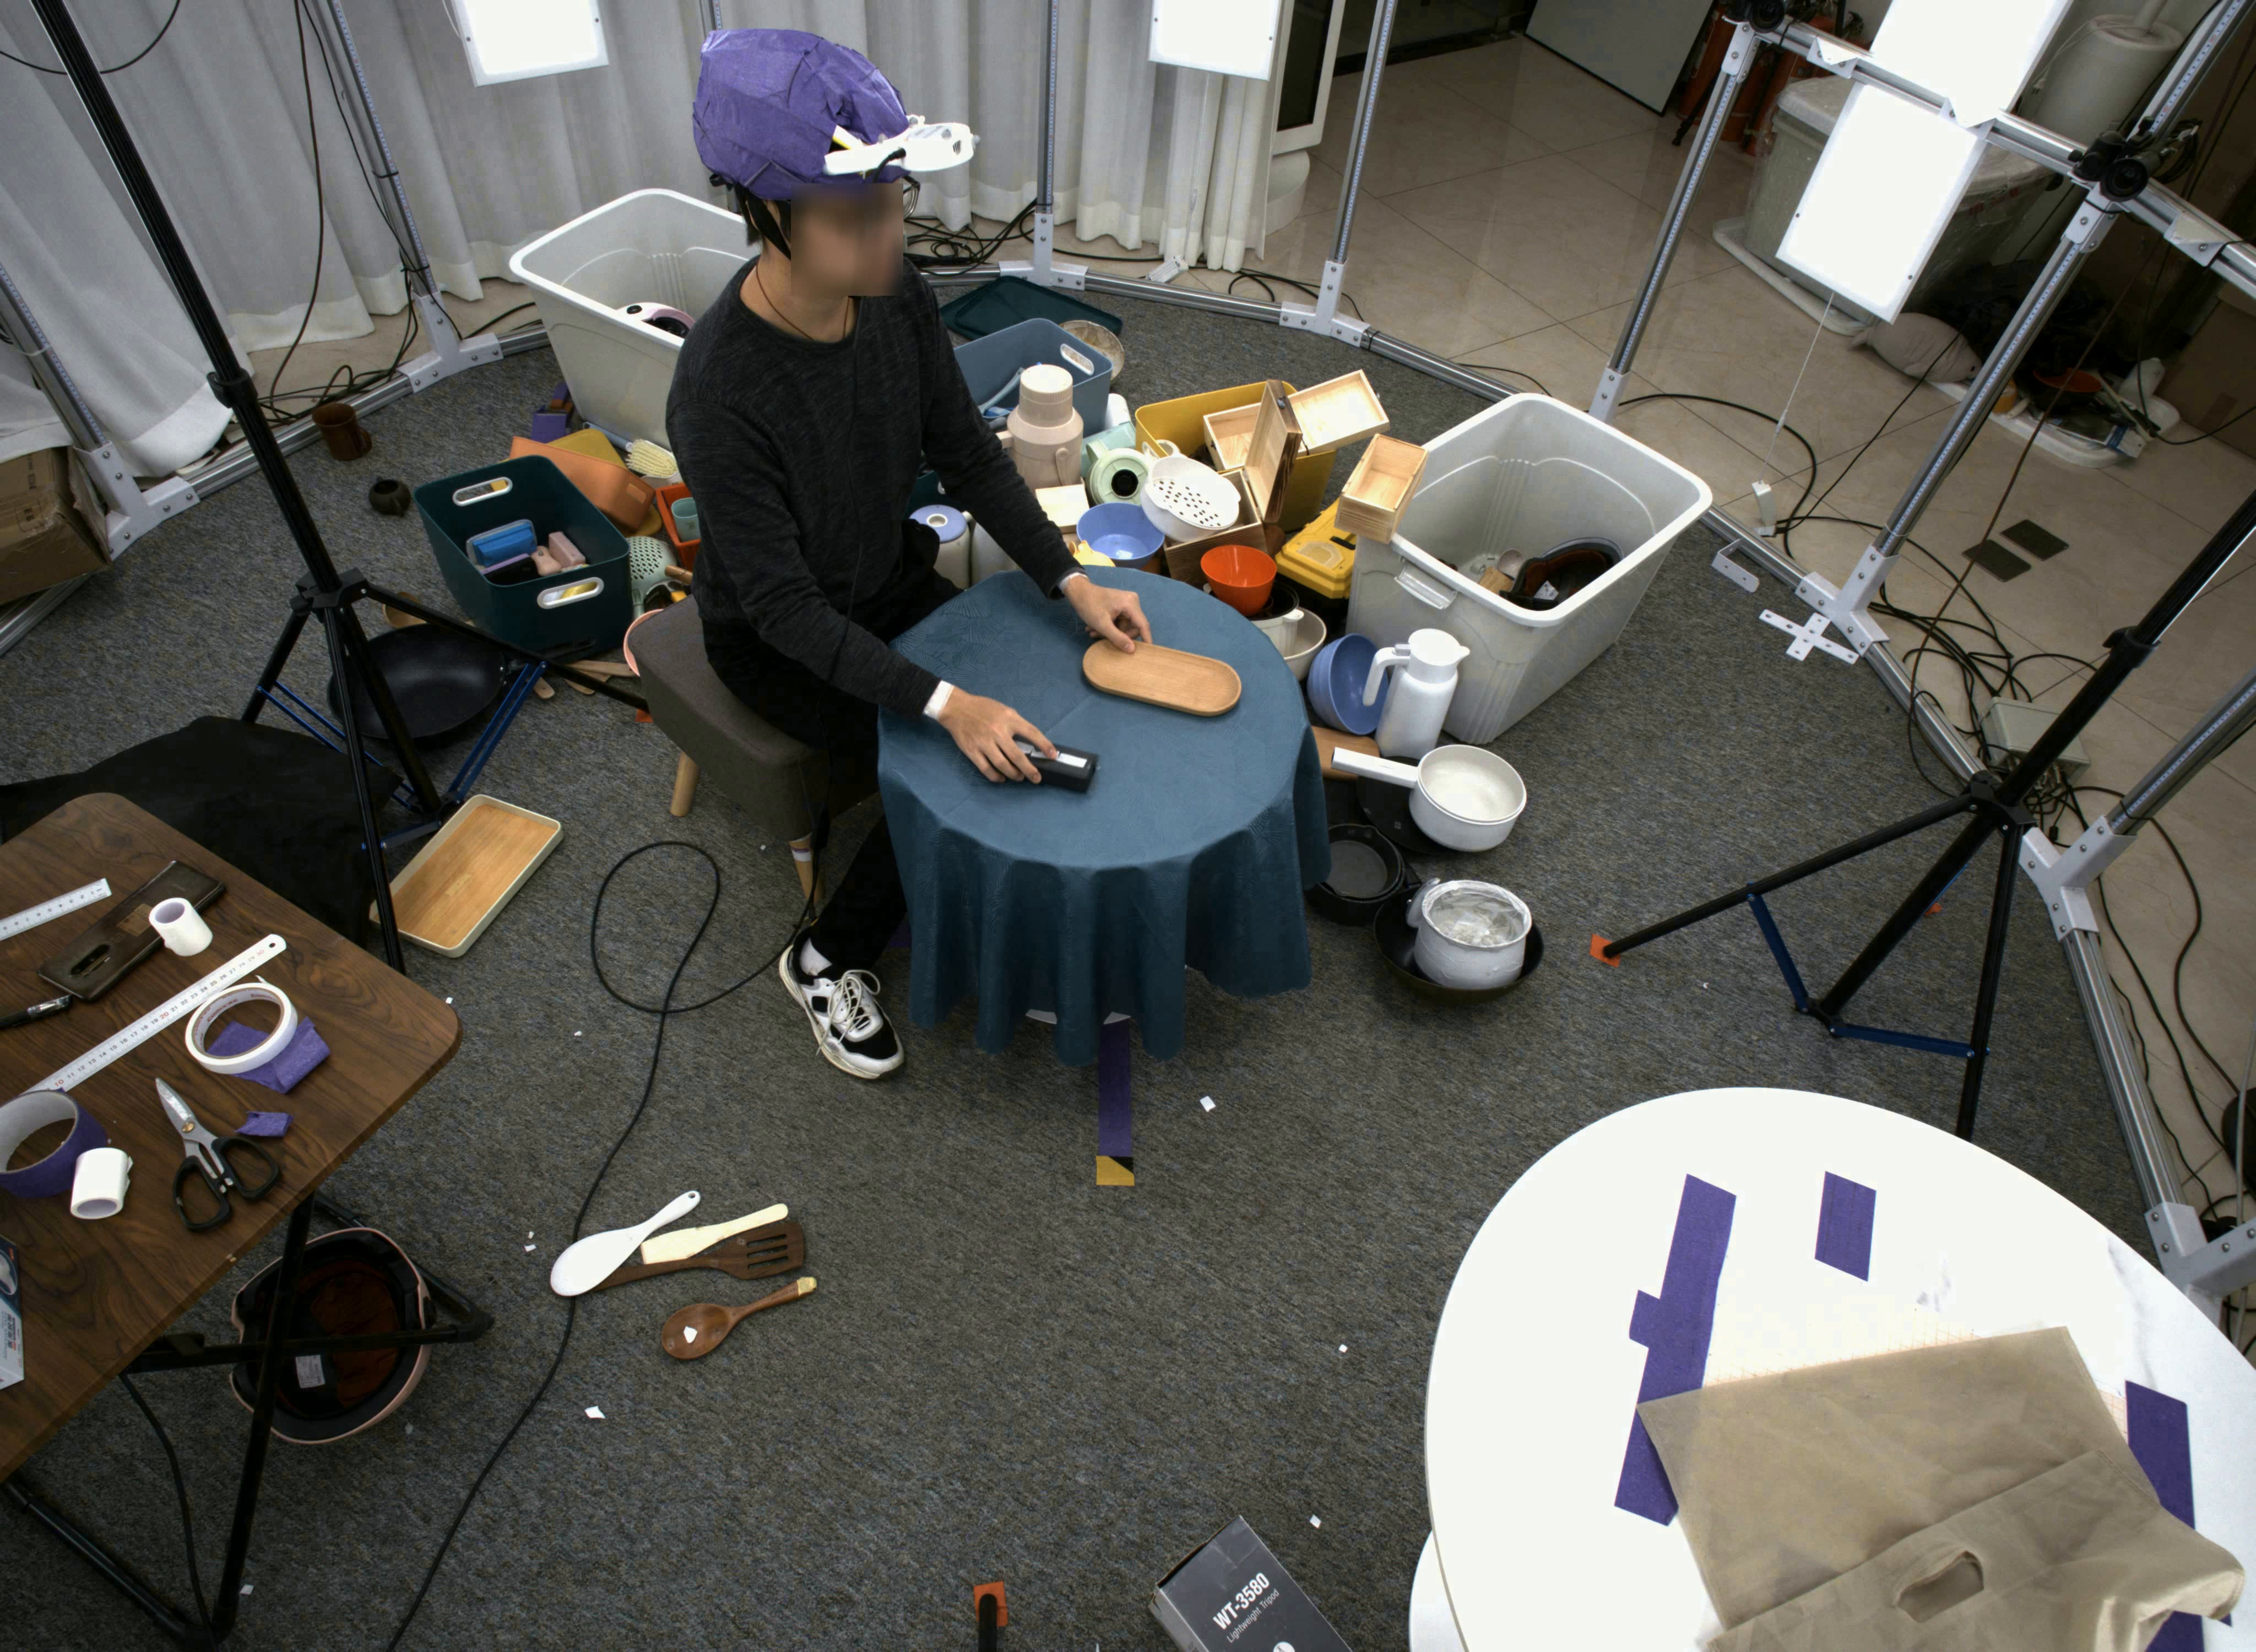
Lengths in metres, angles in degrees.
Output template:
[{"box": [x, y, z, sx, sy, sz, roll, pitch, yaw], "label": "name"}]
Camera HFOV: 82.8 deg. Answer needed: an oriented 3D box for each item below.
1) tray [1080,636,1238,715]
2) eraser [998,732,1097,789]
[{"box": [0.044, -0.216, 1.844, 0.232, 0.020, 0.104, 14, 54, 9], "label": "tray"}, {"box": [-0.107, -0.088, 1.709, 0.125, 0.030, 0.055, 14, 45, 5], "label": "eraser"}]
